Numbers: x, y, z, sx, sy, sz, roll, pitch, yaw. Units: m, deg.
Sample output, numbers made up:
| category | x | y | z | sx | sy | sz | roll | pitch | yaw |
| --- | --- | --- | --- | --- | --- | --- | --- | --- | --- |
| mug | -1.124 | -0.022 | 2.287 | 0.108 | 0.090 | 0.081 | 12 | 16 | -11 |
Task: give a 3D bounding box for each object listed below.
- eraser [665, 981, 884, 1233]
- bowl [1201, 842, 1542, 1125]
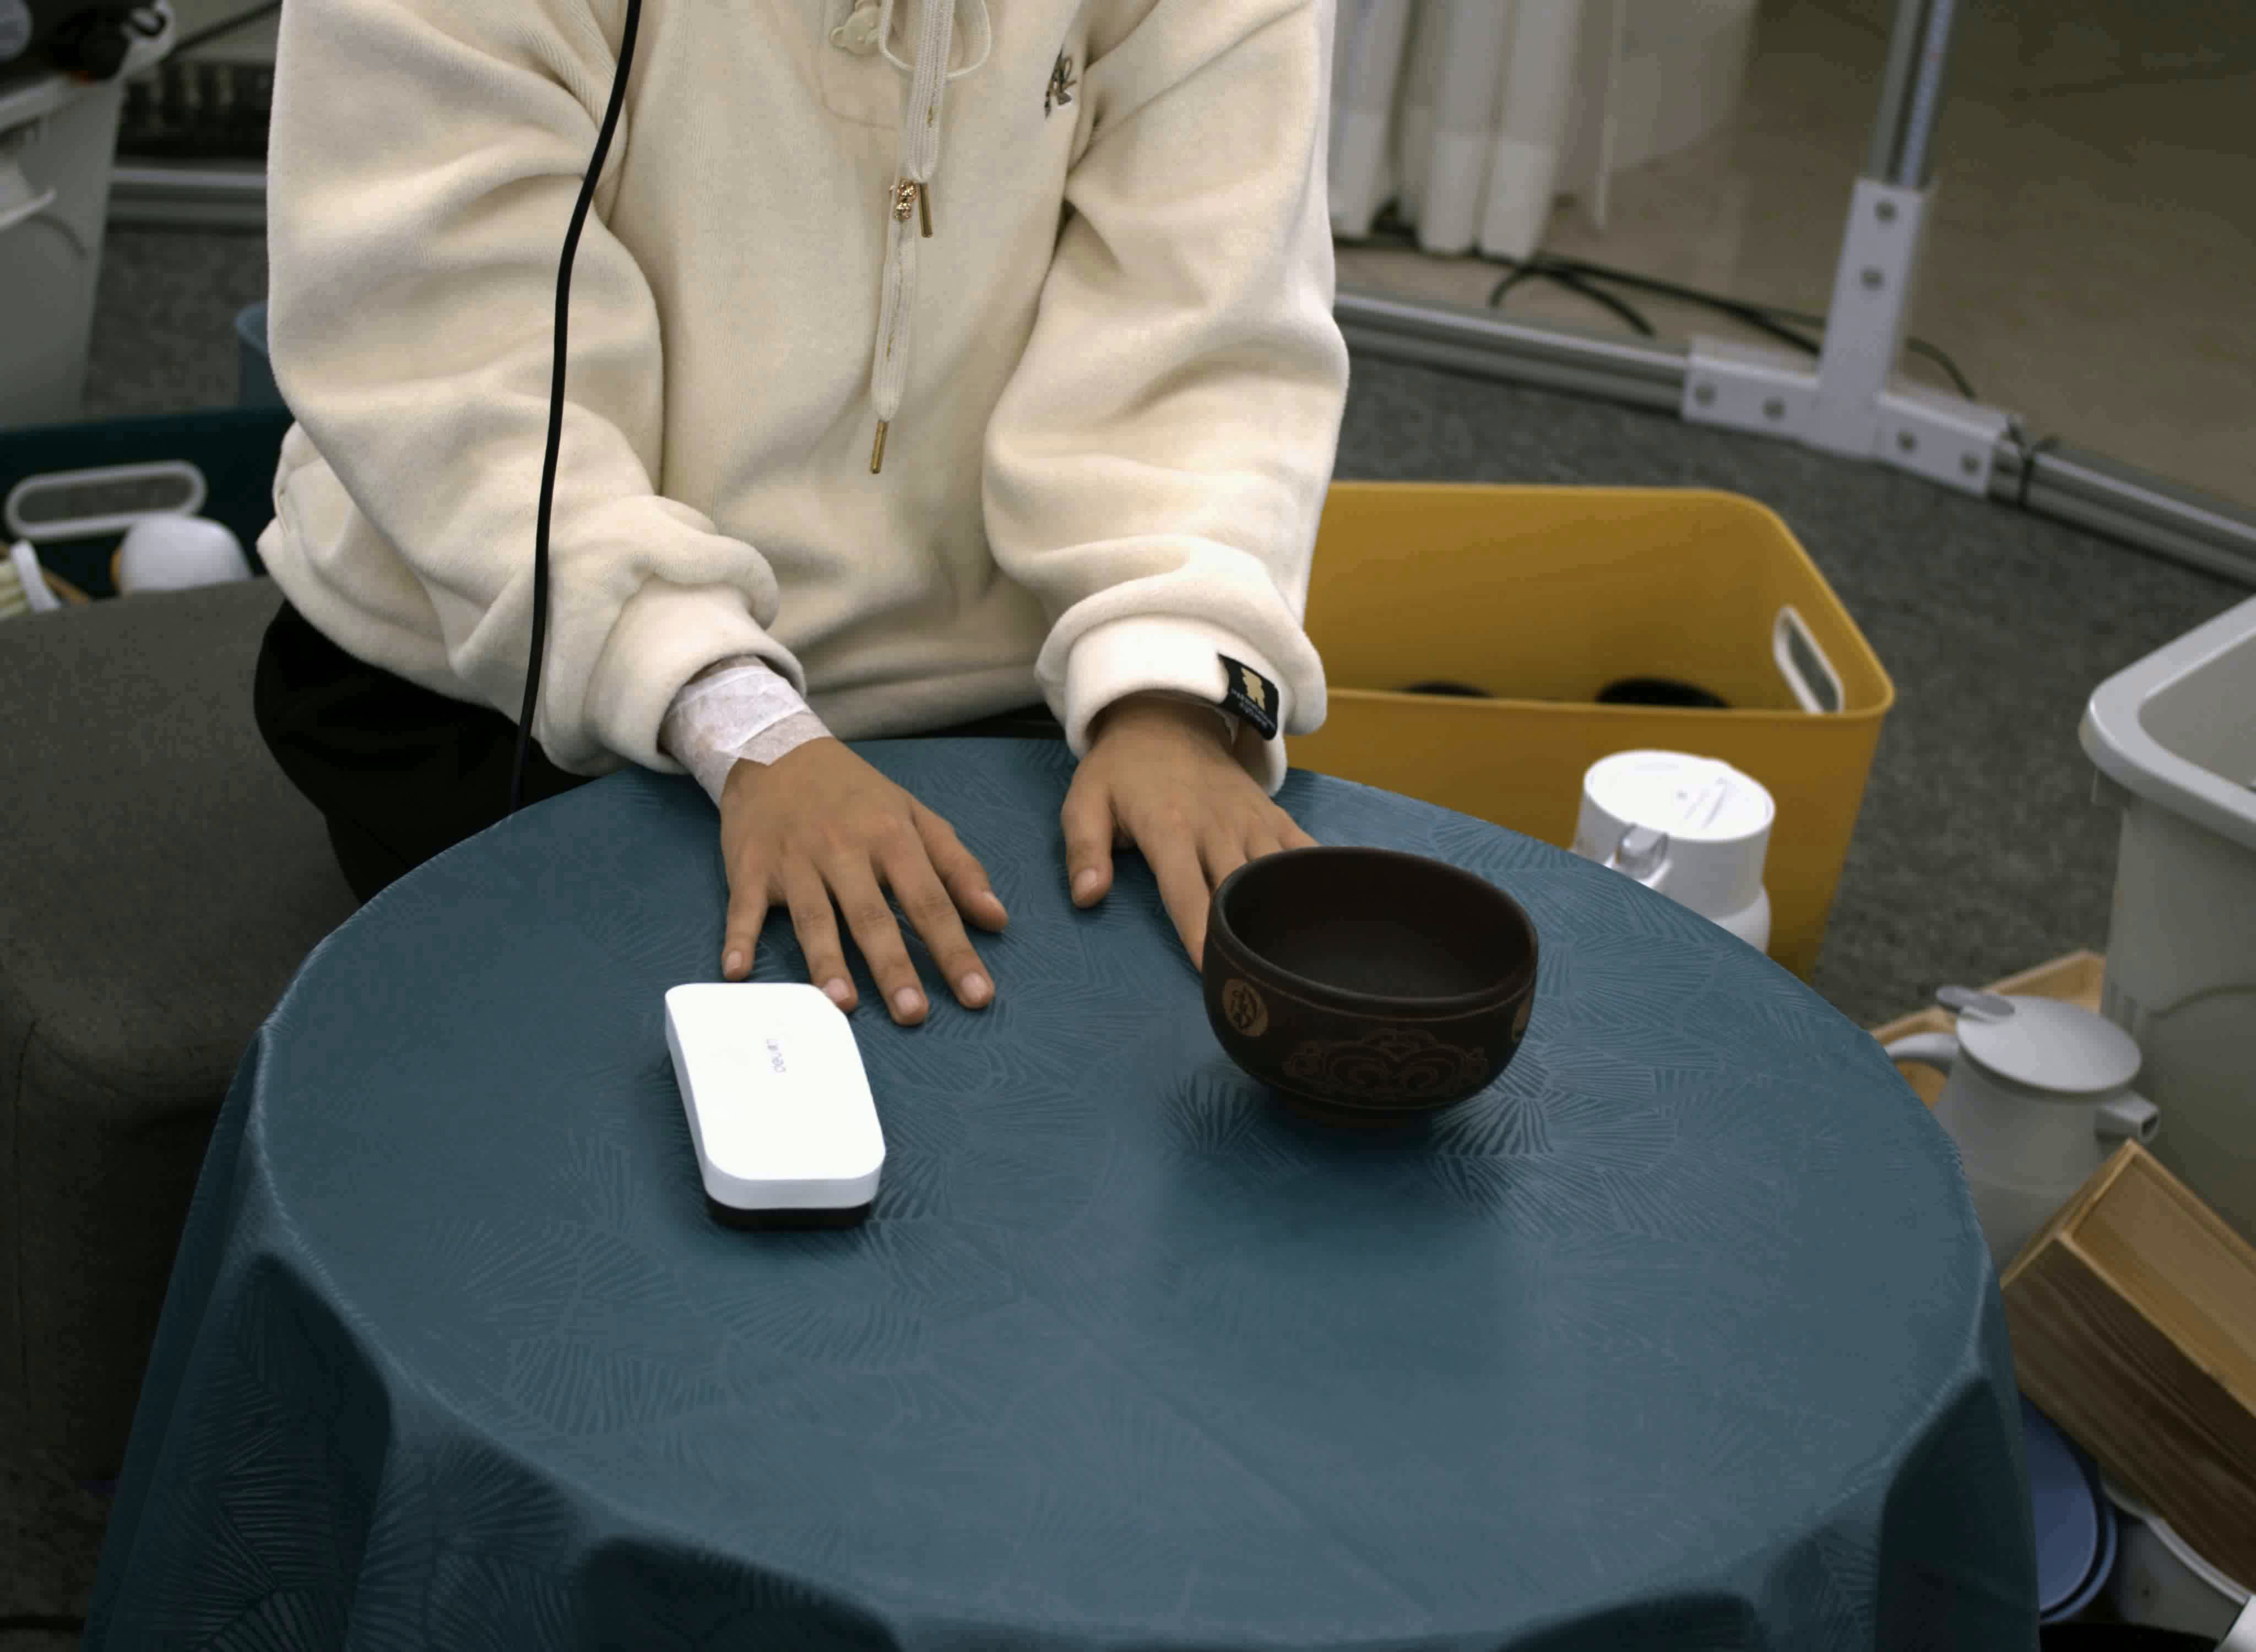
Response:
| category | x | y | z | sx | sy | sz | roll | pitch | yaw |
| --- | --- | --- | --- | --- | --- | --- | --- | --- | --- |
| eraser | -0.120 | 0.092 | 1.805 | 0.063 | 0.034 | 0.132 | 1 | 28 | -13 |
| bowl | 0.083 | 0.061 | 1.863 | 0.117 | 0.069 | 0.119 | 7 | 25 | -3 |
